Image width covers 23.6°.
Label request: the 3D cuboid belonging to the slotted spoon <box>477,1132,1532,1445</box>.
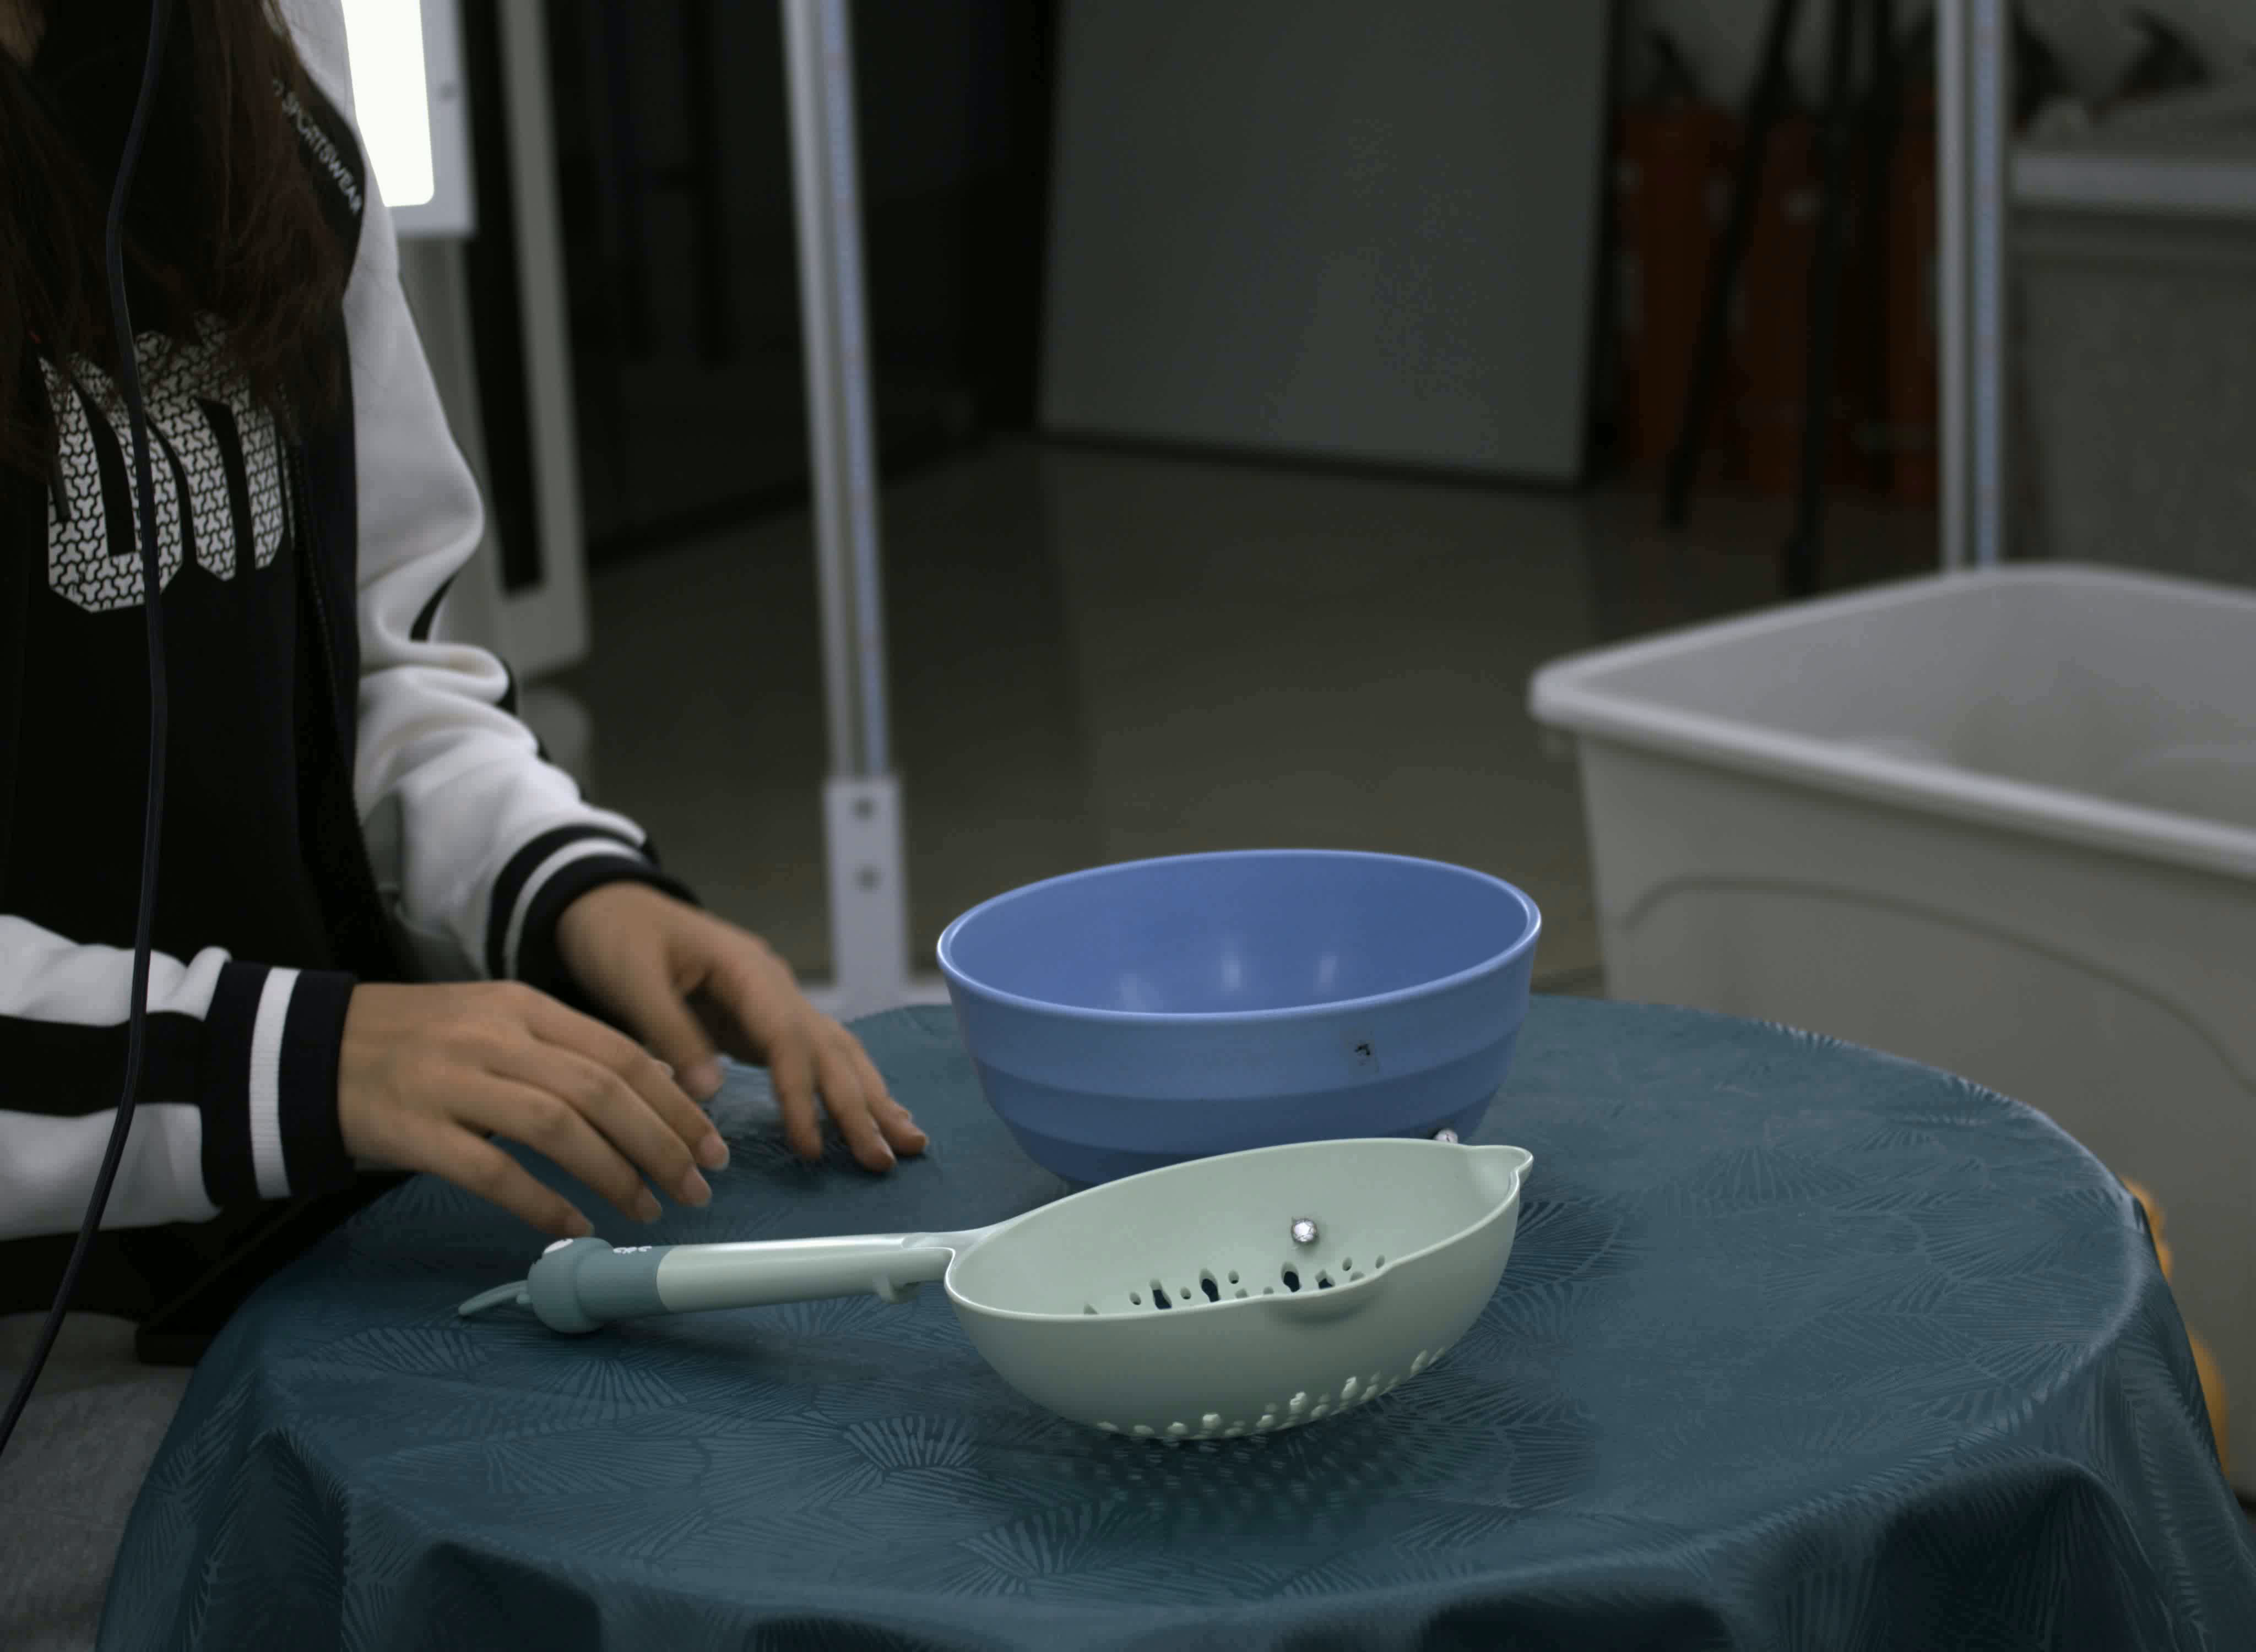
[{"bbox_3d":[-0.050,0.137,1.601,0.360,0.076,0.167,2,14,30],"label":"slotted spoon"}]

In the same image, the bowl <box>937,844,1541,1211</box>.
[{"bbox_3d":[0.038,0.077,1.738,0.194,0.096,0.197,-4,14,0],"label":"bowl"}]
